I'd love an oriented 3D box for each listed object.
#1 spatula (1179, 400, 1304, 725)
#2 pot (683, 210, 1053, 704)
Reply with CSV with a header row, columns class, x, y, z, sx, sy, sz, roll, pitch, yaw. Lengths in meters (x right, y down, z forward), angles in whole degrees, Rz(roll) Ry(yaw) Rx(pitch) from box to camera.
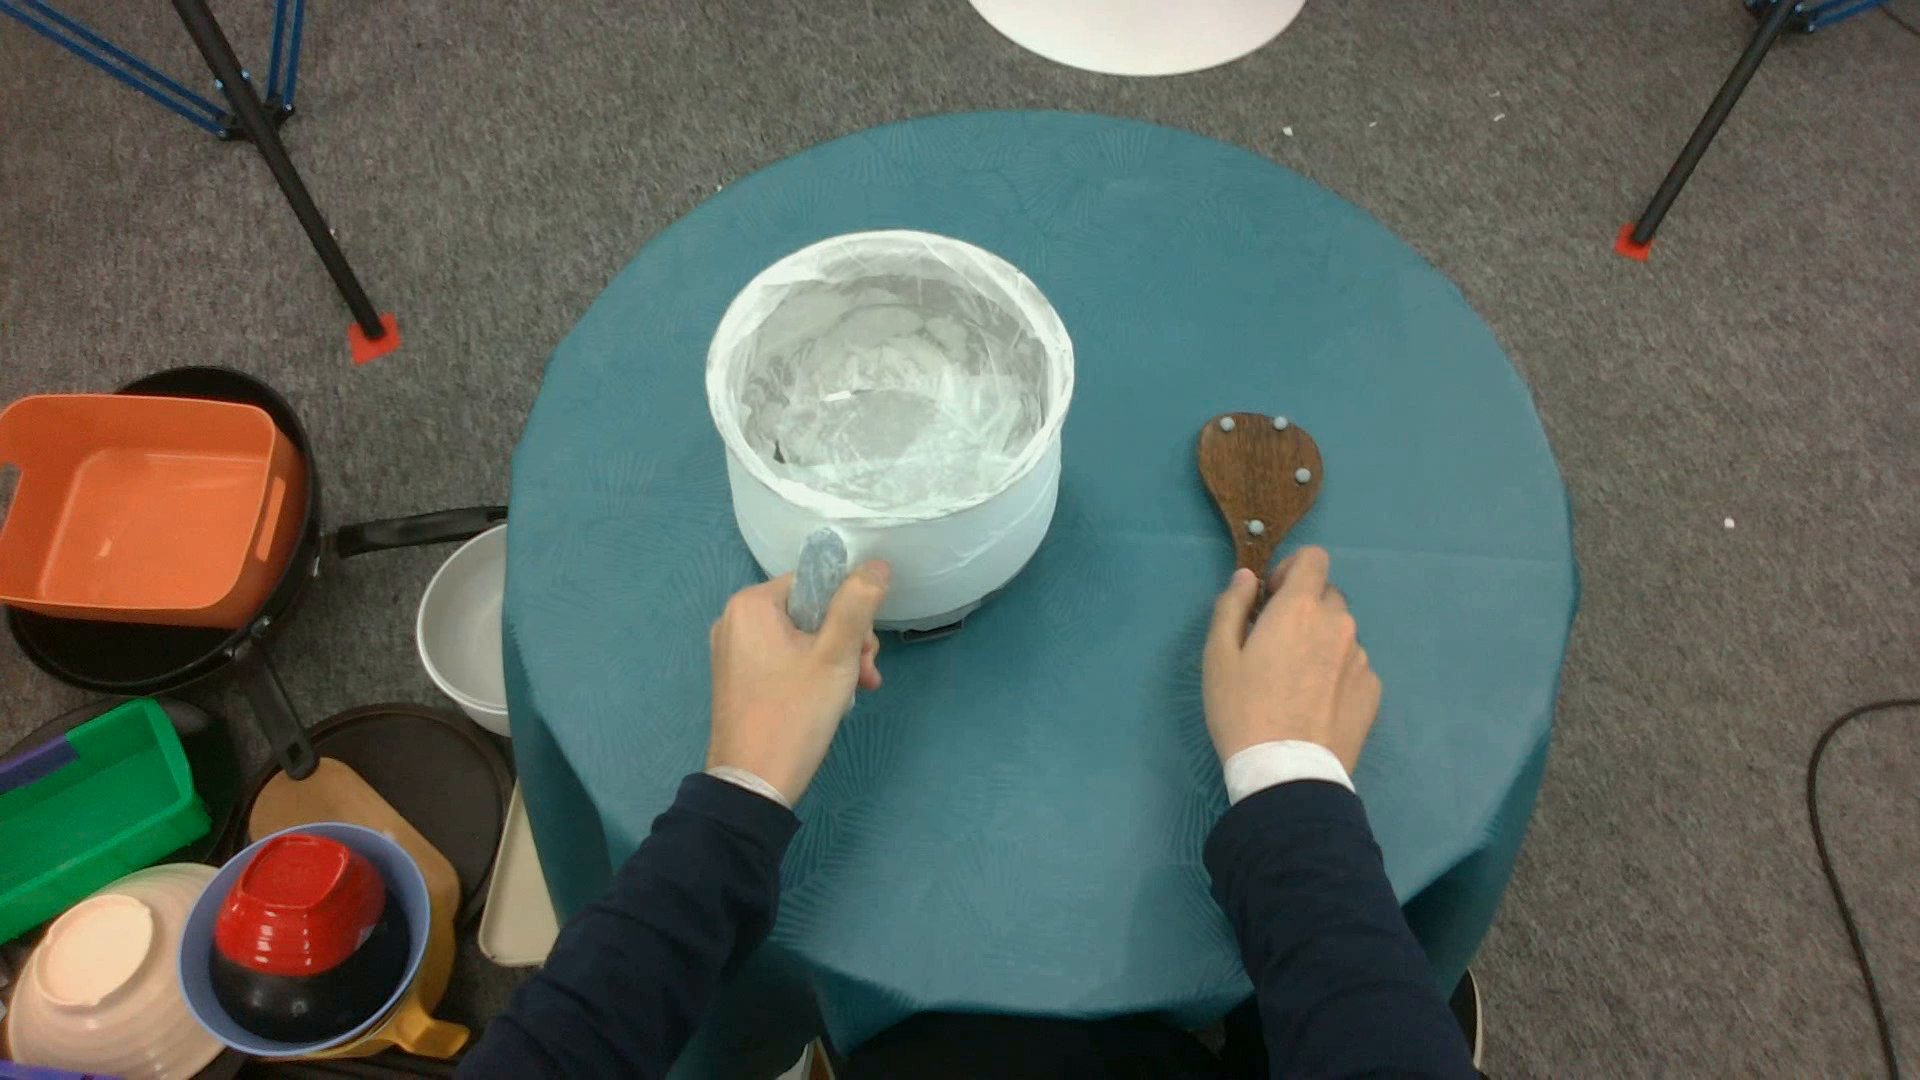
class,x,y,z,sx,sy,sz,roll,pitch,yaw
spatula,0.147,0.005,0.751,0.072,0.009,0.217,11,57,5
pot,-0.049,-0.039,0.698,0.178,0.136,0.235,11,59,7
